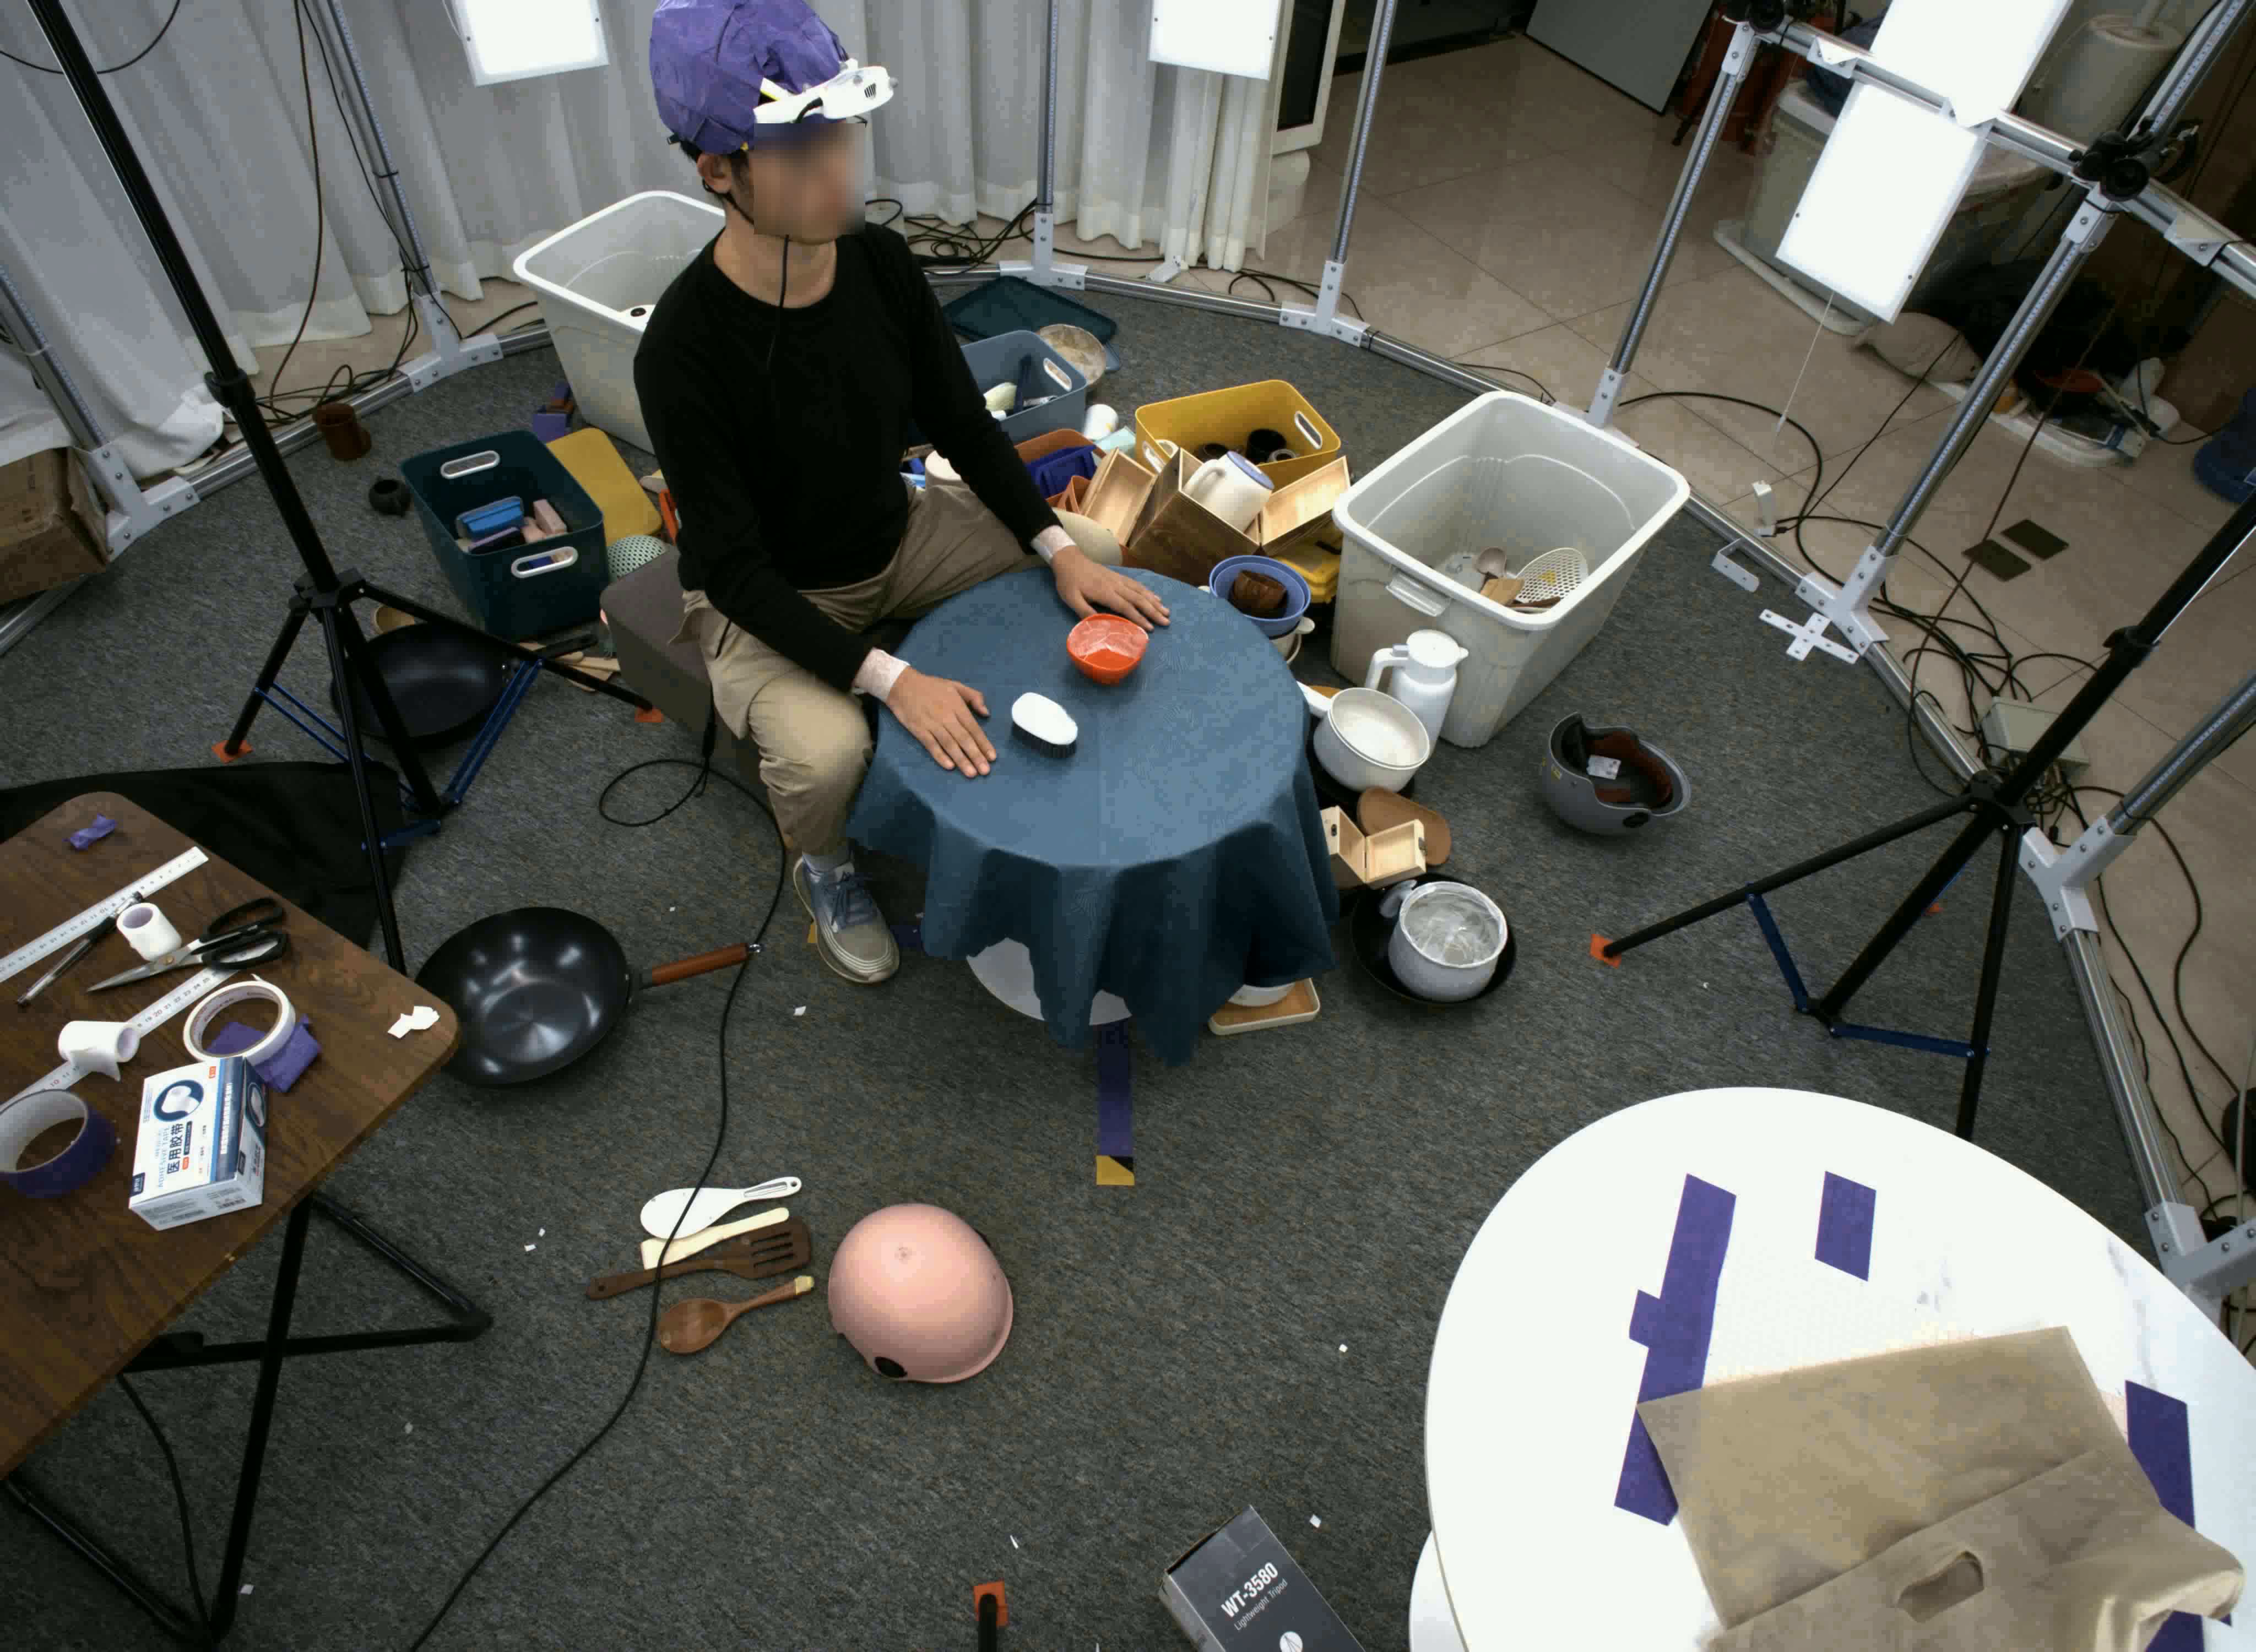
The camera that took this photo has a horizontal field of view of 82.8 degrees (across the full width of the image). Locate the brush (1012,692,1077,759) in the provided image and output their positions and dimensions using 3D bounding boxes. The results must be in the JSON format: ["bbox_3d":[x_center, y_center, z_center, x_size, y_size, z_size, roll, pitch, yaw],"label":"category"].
[{"bbox_3d":[-0.114,-0.144,1.739,0.100,0.071,0.051,31,55,21],"label":"brush"}]

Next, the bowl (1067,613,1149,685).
[{"bbox_3d":[-0.030,-0.249,1.850,0.119,0.050,0.122,3,52,-4],"label":"bowl"}]
